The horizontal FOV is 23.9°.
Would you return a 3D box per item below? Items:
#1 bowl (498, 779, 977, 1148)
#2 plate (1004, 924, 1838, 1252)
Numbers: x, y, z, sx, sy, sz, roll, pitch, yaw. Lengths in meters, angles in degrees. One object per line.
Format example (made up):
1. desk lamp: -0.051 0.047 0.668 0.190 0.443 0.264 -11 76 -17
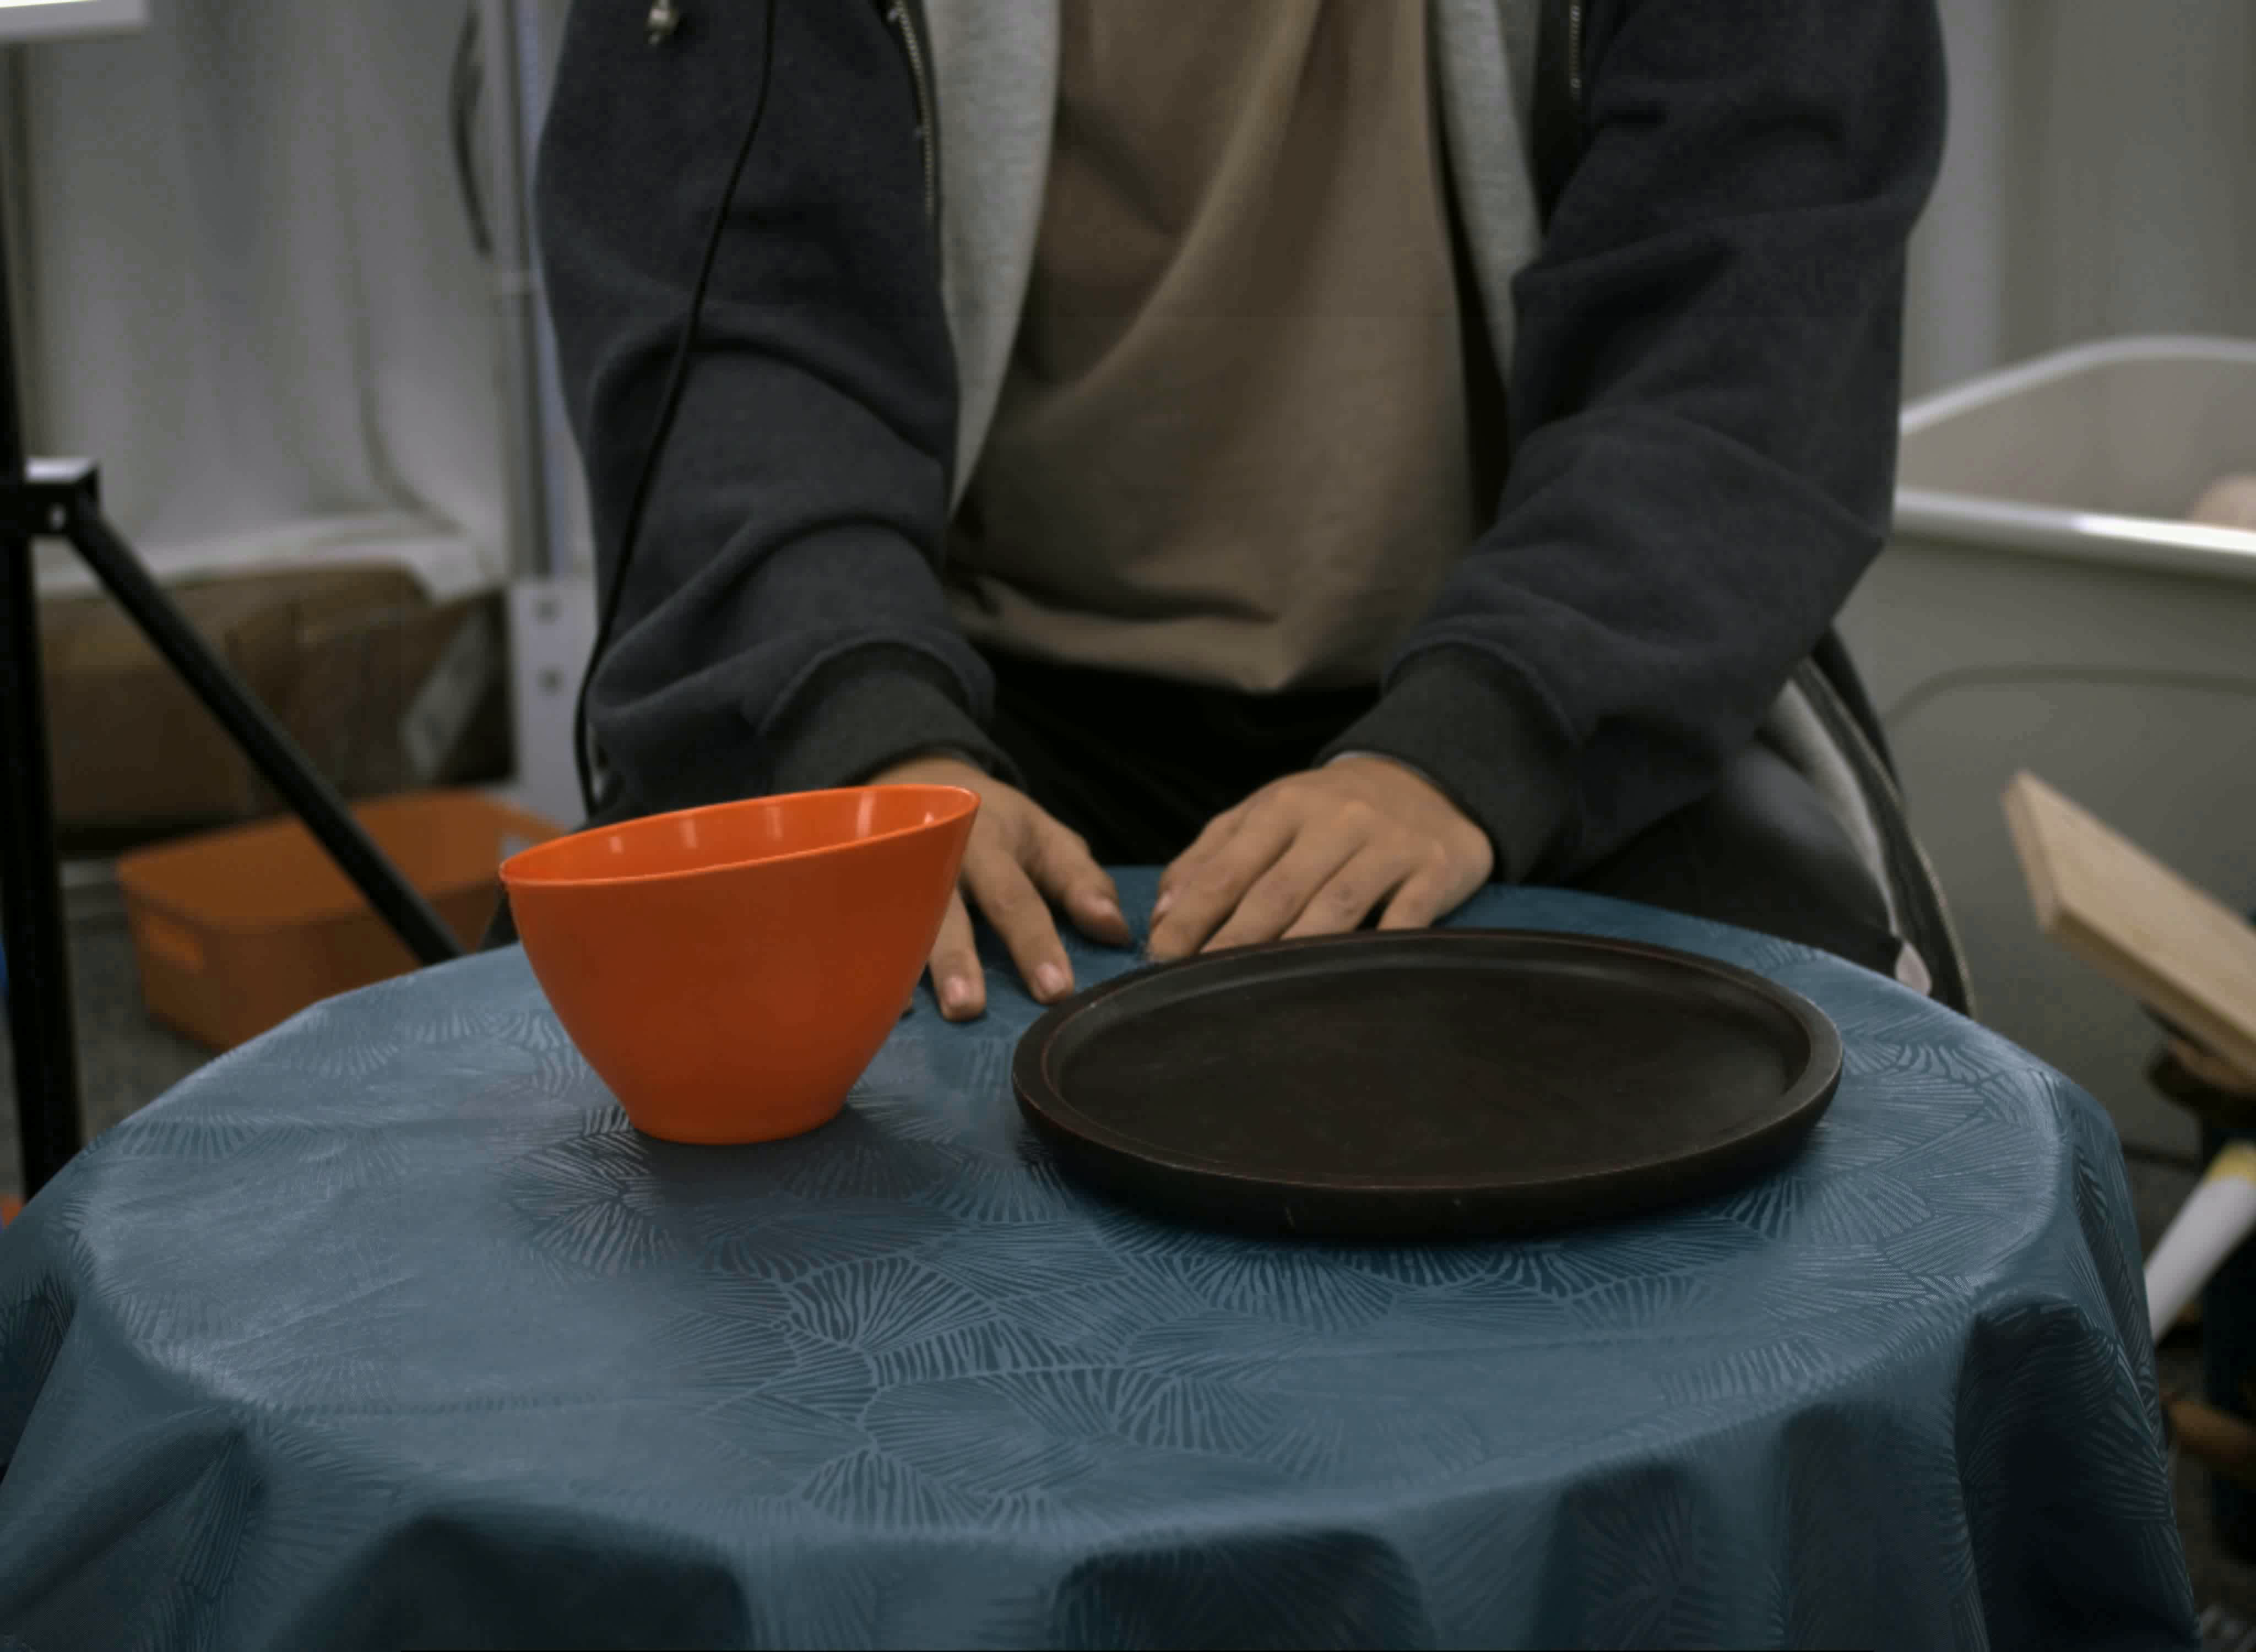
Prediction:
1. bowl: -0.116 0.042 1.629 0.147 0.104 0.149 -4 17 0
2. plate: 0.089 0.077 1.612 0.253 0.029 0.256 -4 16 0
